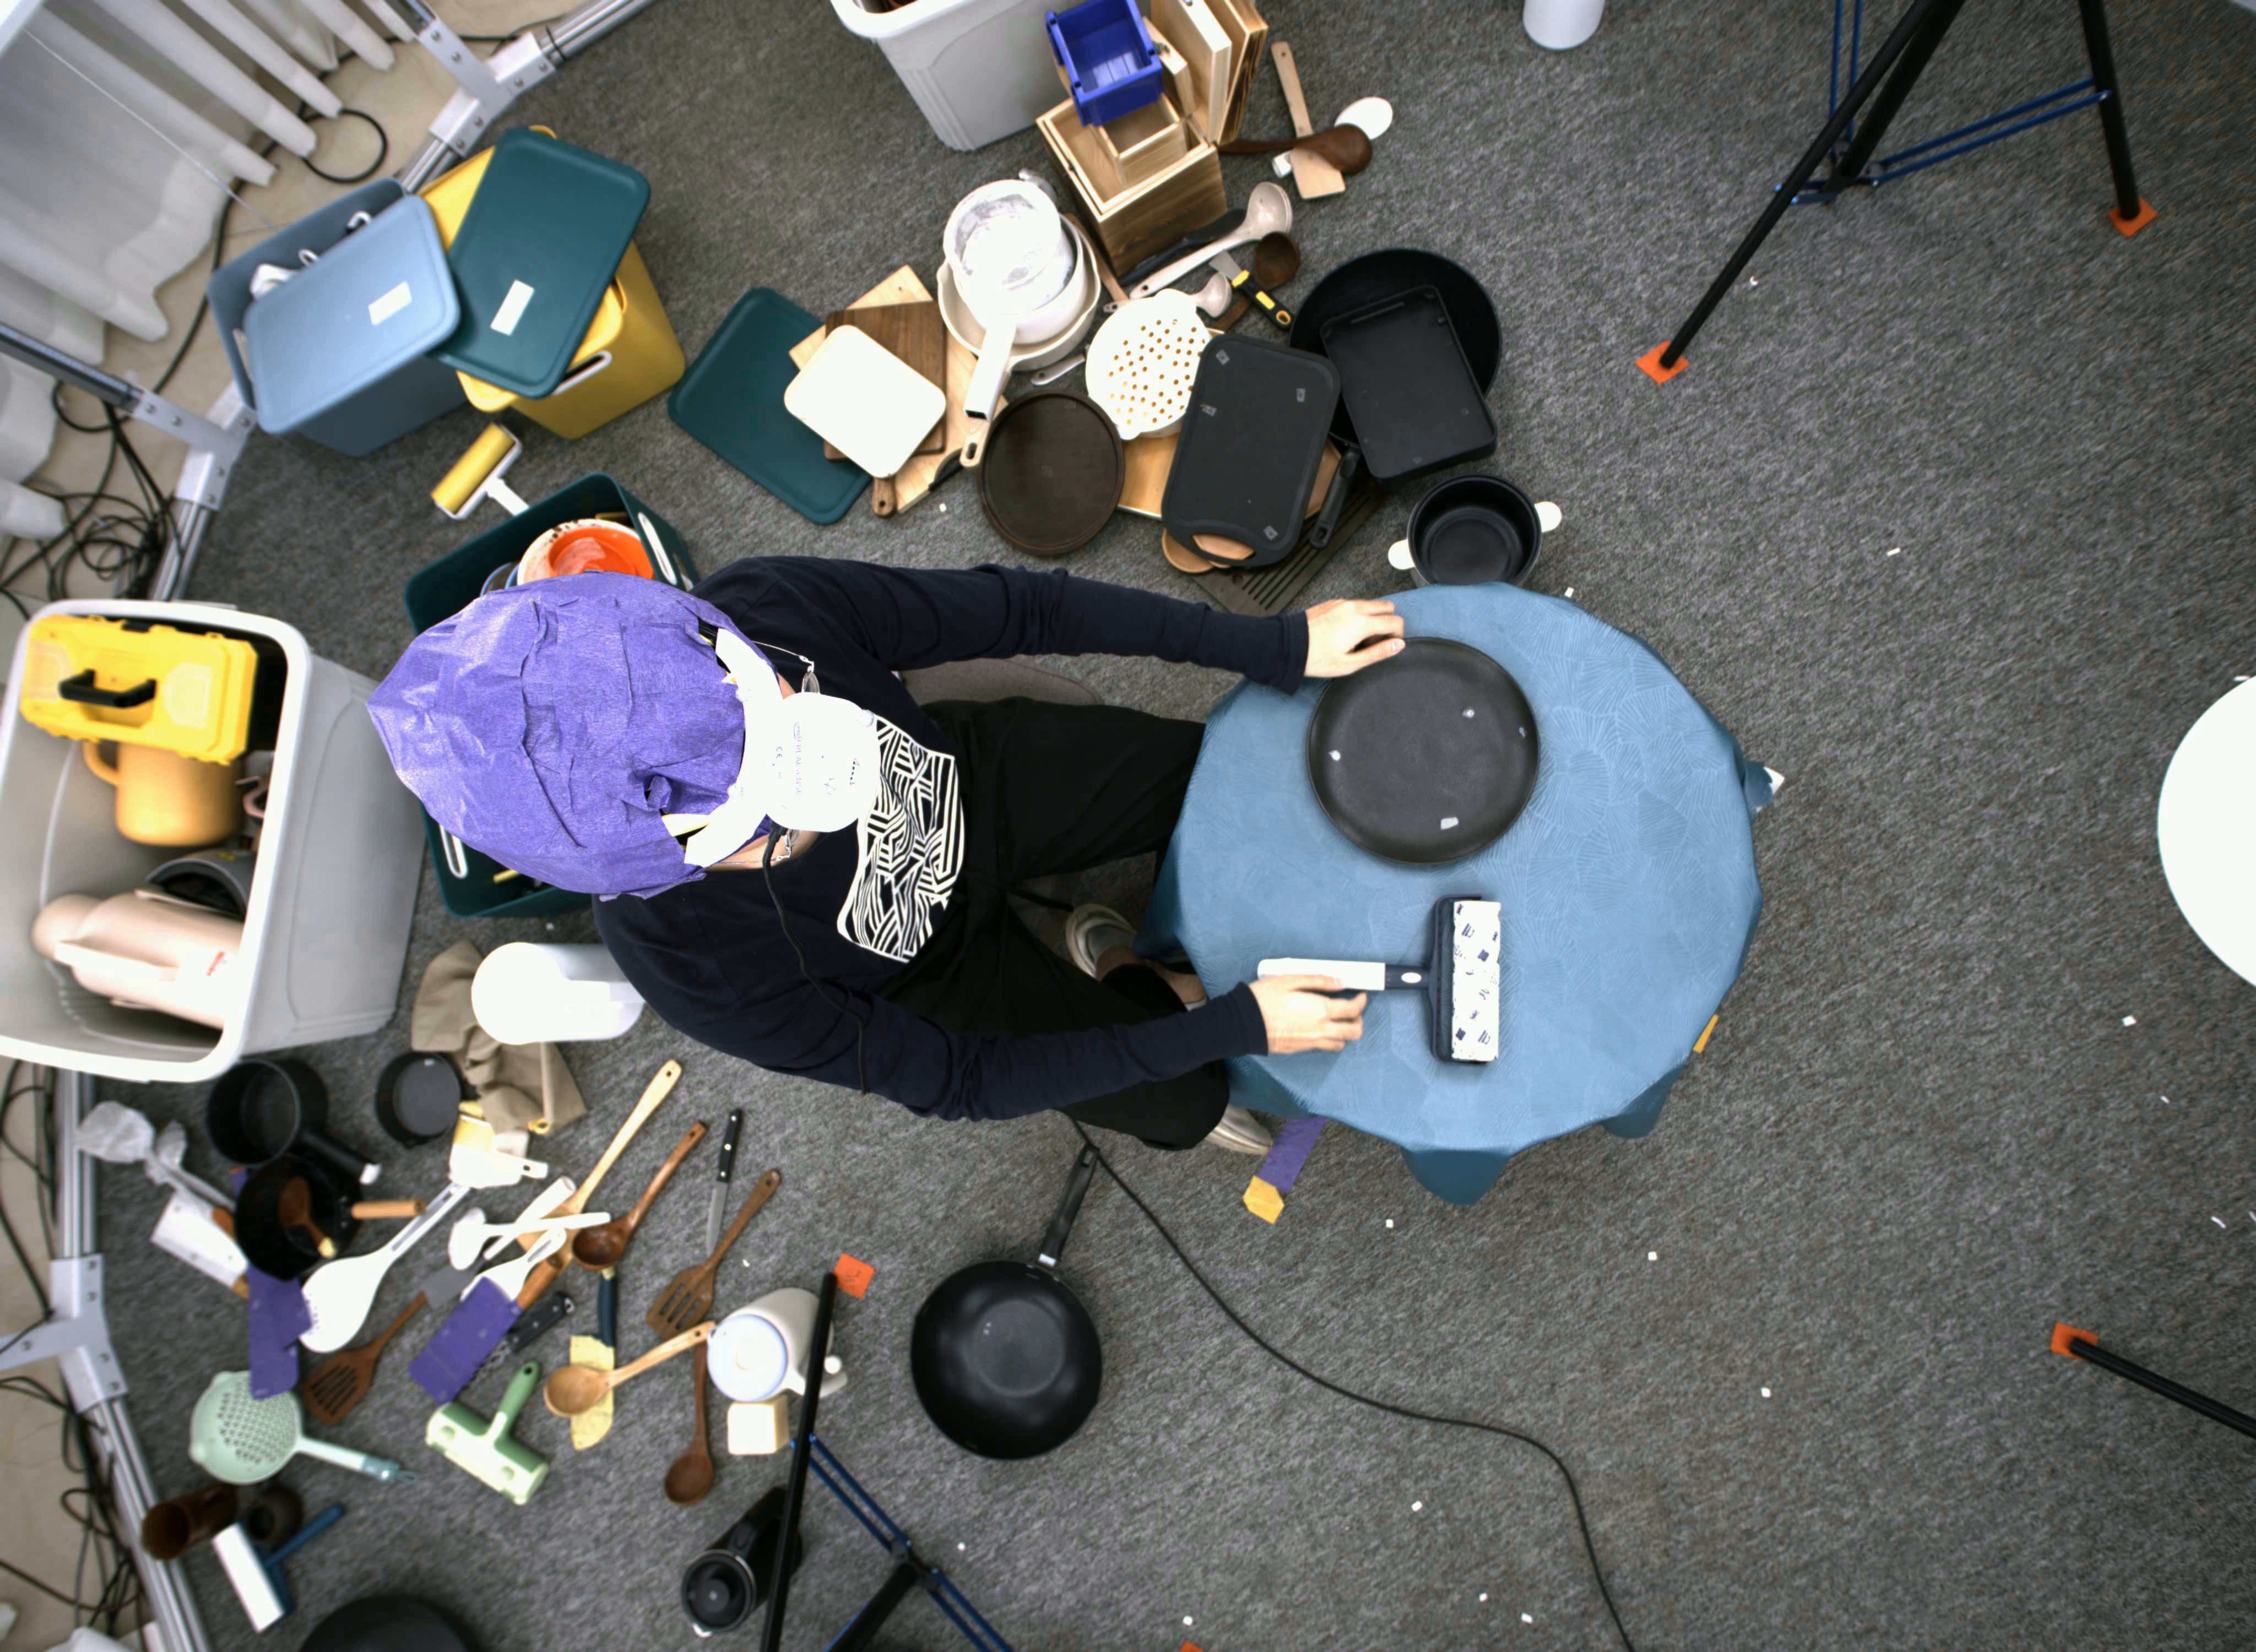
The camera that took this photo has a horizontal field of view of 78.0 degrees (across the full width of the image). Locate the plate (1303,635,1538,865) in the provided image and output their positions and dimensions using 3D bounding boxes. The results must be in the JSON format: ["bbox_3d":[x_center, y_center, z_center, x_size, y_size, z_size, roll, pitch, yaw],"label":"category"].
[{"bbox_3d":[0.307,-0.081,1.448,0.245,0.023,0.243,-1,88,10],"label":"plate"}]

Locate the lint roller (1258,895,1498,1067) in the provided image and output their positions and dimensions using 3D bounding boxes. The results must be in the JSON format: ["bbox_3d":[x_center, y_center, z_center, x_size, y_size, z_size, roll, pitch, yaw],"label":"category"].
[{"bbox_3d":[0.257,0.156,1.437,0.248,0.050,0.175,0,87,13],"label":"lint roller"}]
